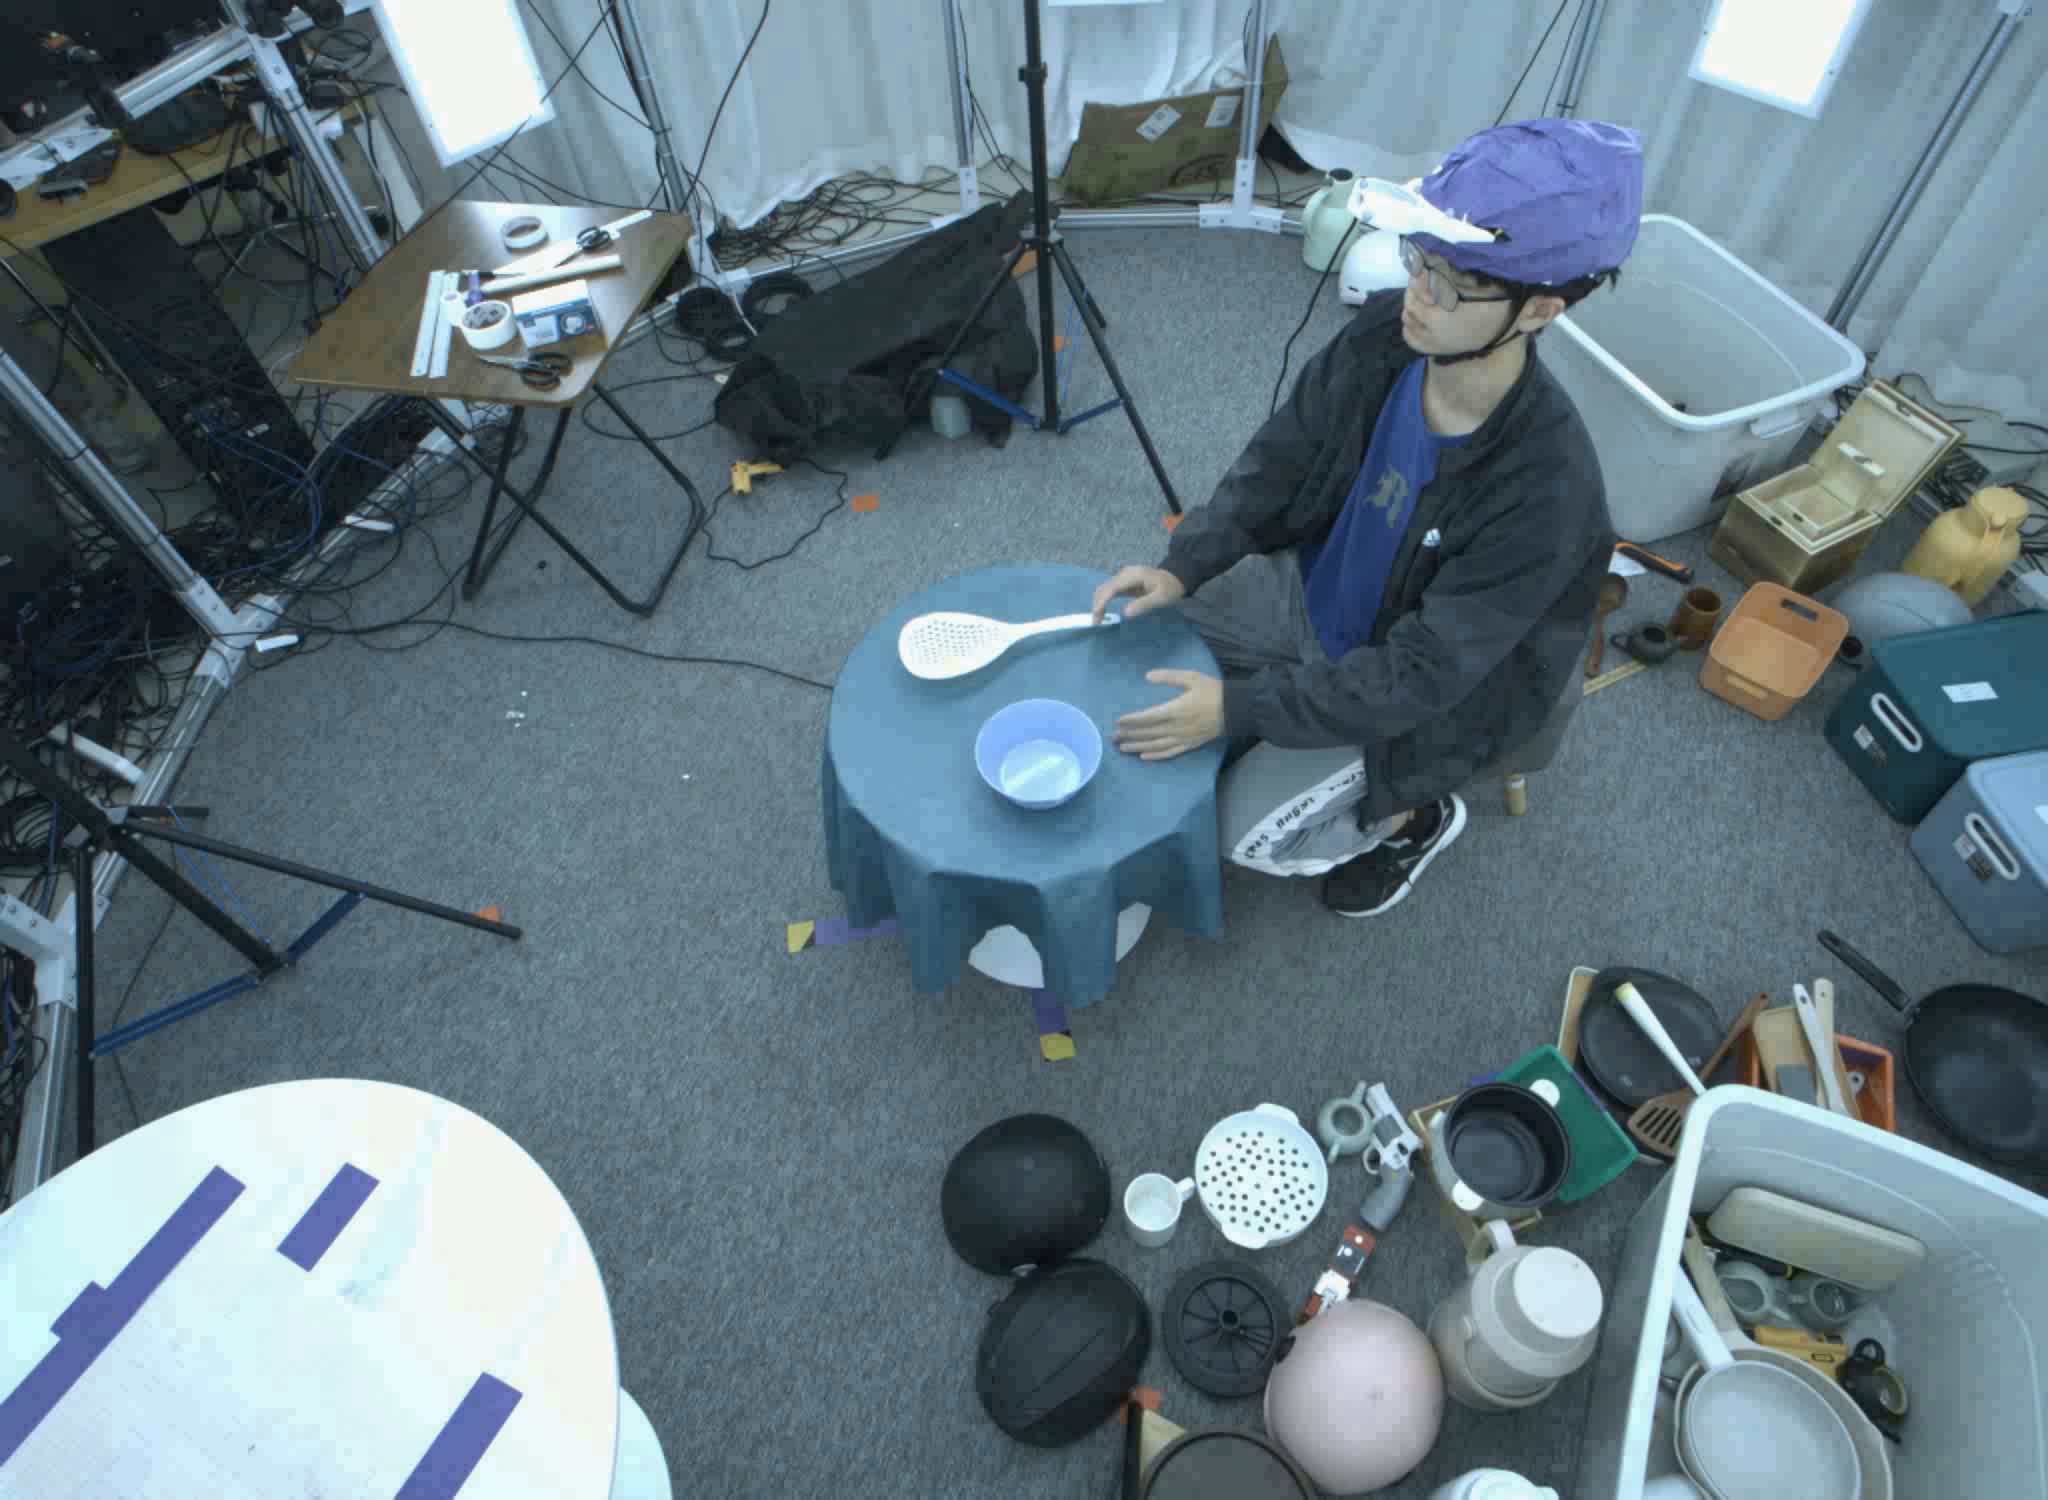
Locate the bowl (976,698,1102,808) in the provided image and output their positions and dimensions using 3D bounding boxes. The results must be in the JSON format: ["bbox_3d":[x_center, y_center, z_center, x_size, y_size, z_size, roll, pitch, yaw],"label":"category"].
[{"bbox_3d":[0.022,0.015,1.723,0.176,0.071,0.174,0,55,2],"label":"bowl"}]

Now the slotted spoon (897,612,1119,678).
[{"bbox_3d":[-0.019,-0.175,1.878,0.350,0.051,0.134,-14,51,-8],"label":"slotted spoon"}]
